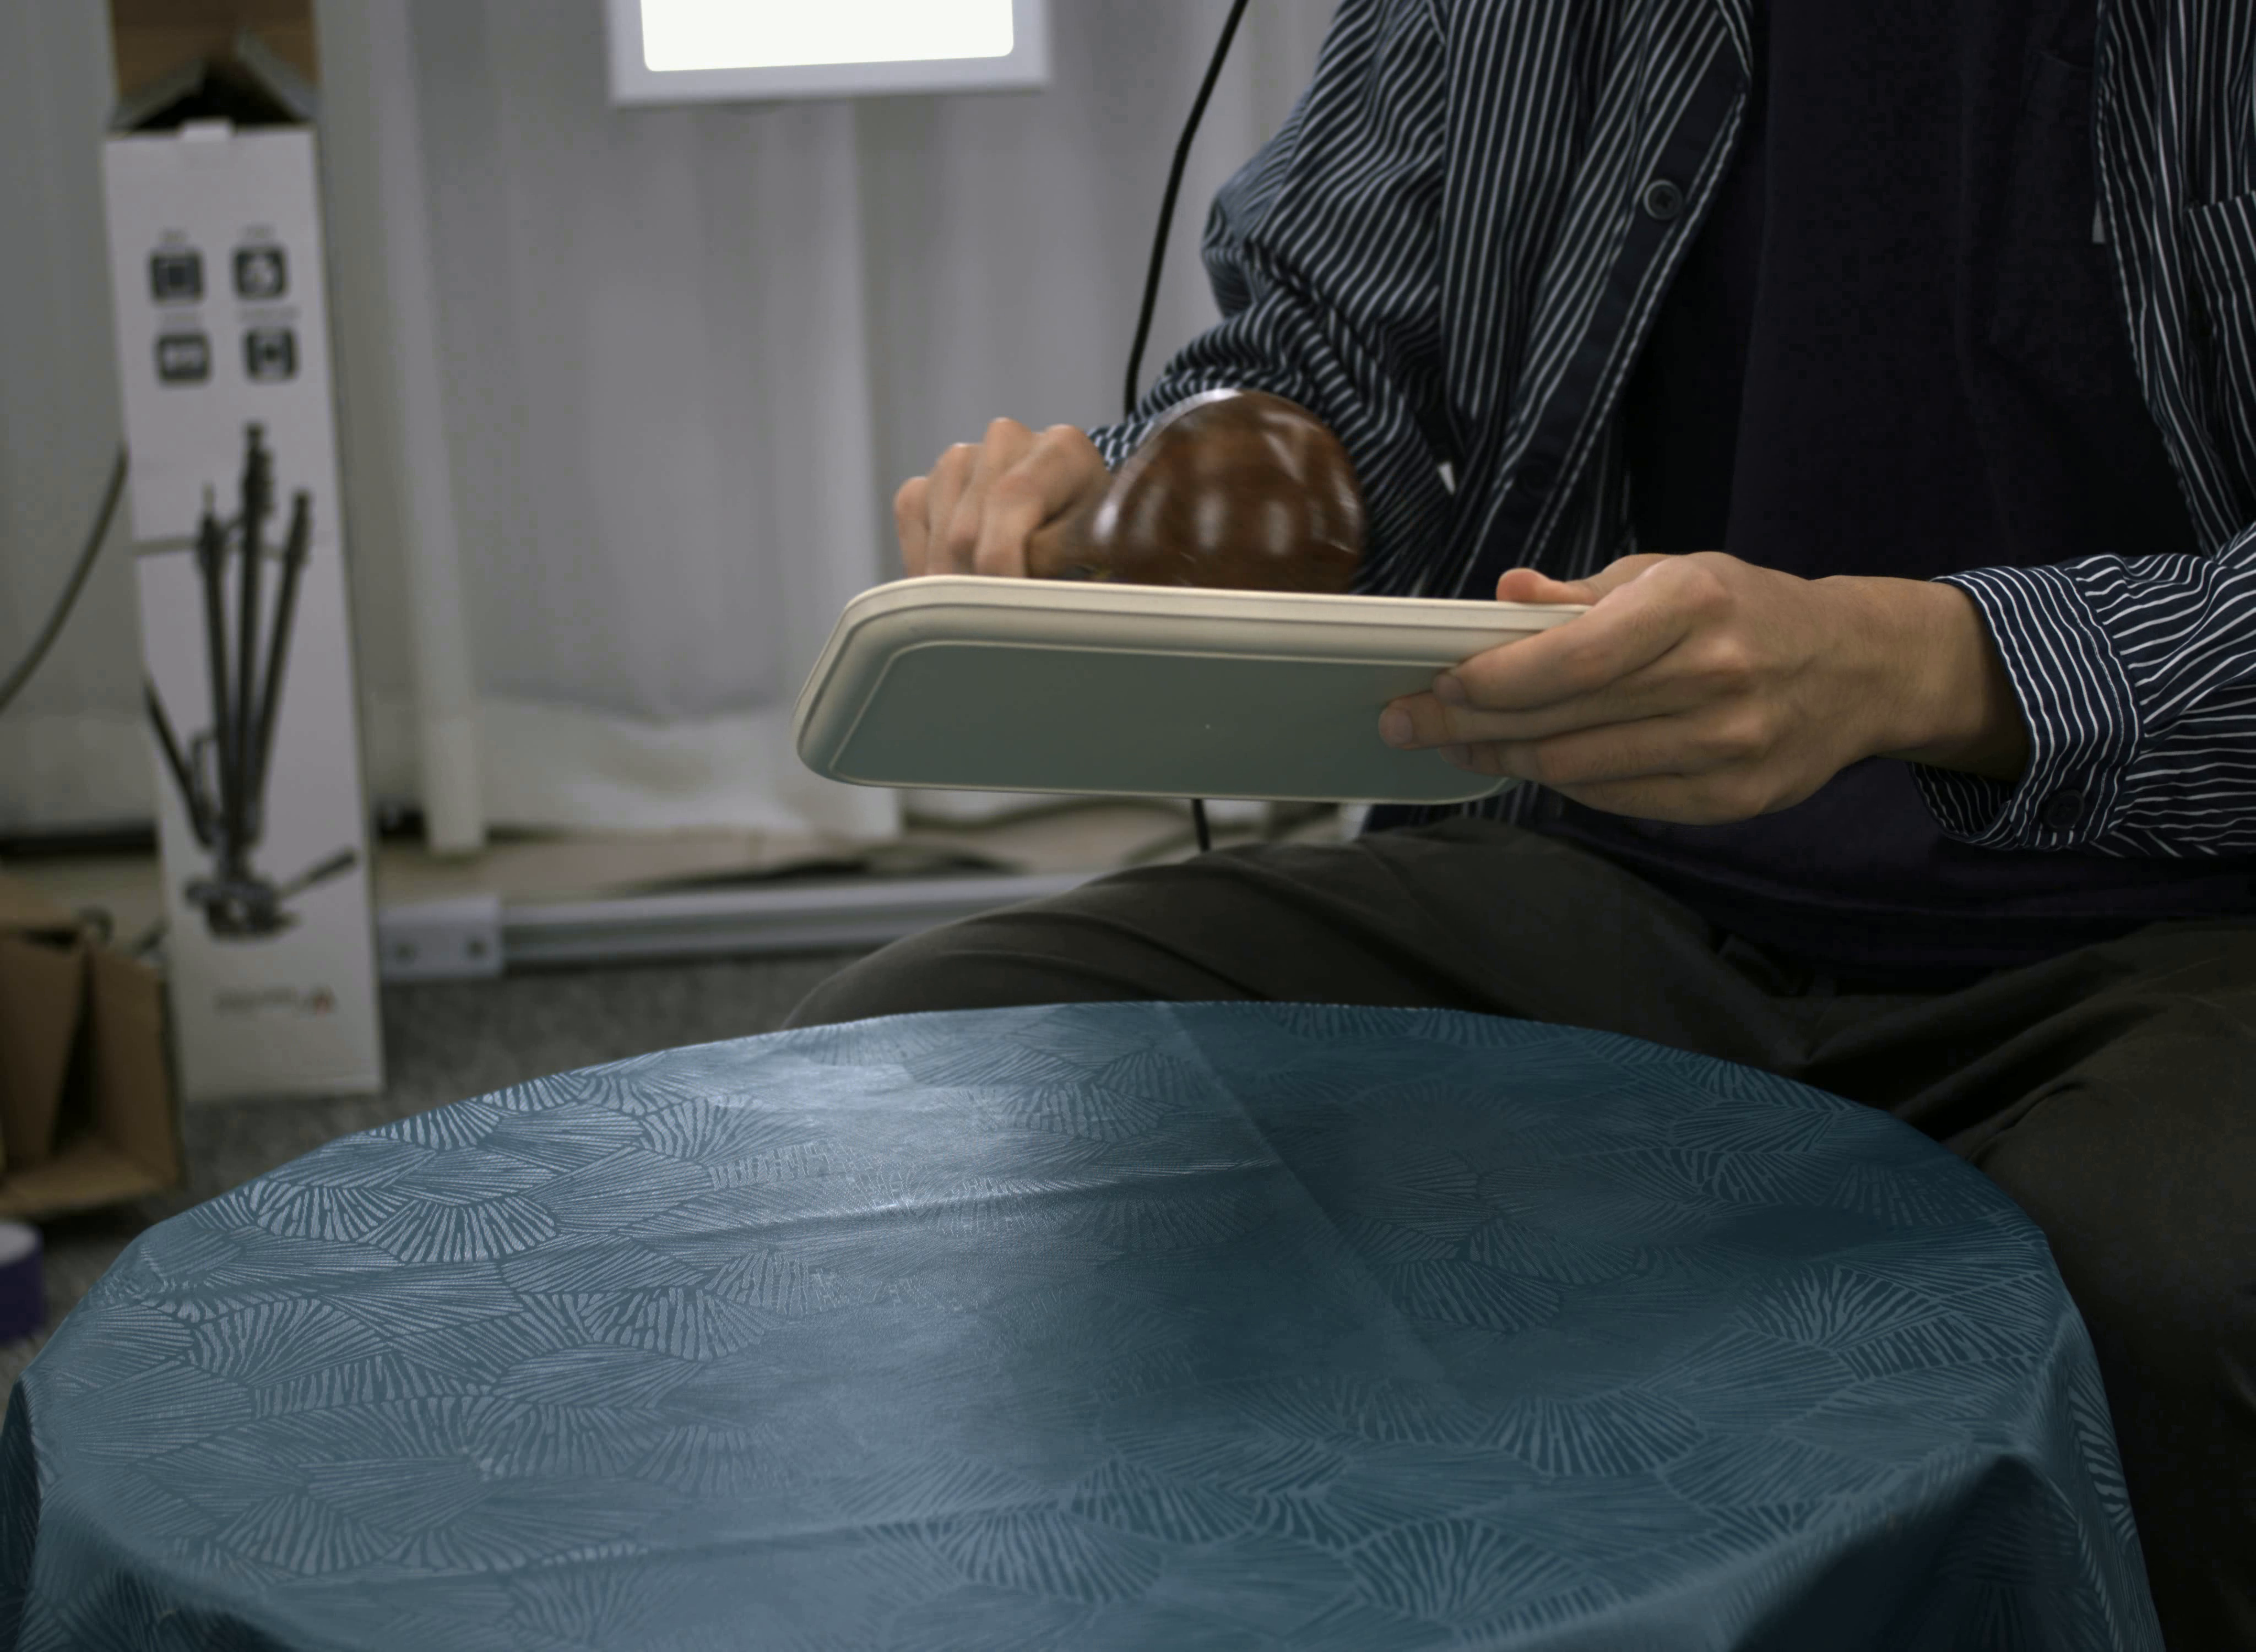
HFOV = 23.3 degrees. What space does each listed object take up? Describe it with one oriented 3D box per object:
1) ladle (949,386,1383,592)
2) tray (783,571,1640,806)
[{"bbox_3d":[0.009,-0.087,1.759,0.076,0.082,0.274,7,-5,-14],"label":"ladle"},{"bbox_3d":[0.023,-0.037,1.641,0.238,0.017,0.170,2,-17,-12],"label":"tray"}]
